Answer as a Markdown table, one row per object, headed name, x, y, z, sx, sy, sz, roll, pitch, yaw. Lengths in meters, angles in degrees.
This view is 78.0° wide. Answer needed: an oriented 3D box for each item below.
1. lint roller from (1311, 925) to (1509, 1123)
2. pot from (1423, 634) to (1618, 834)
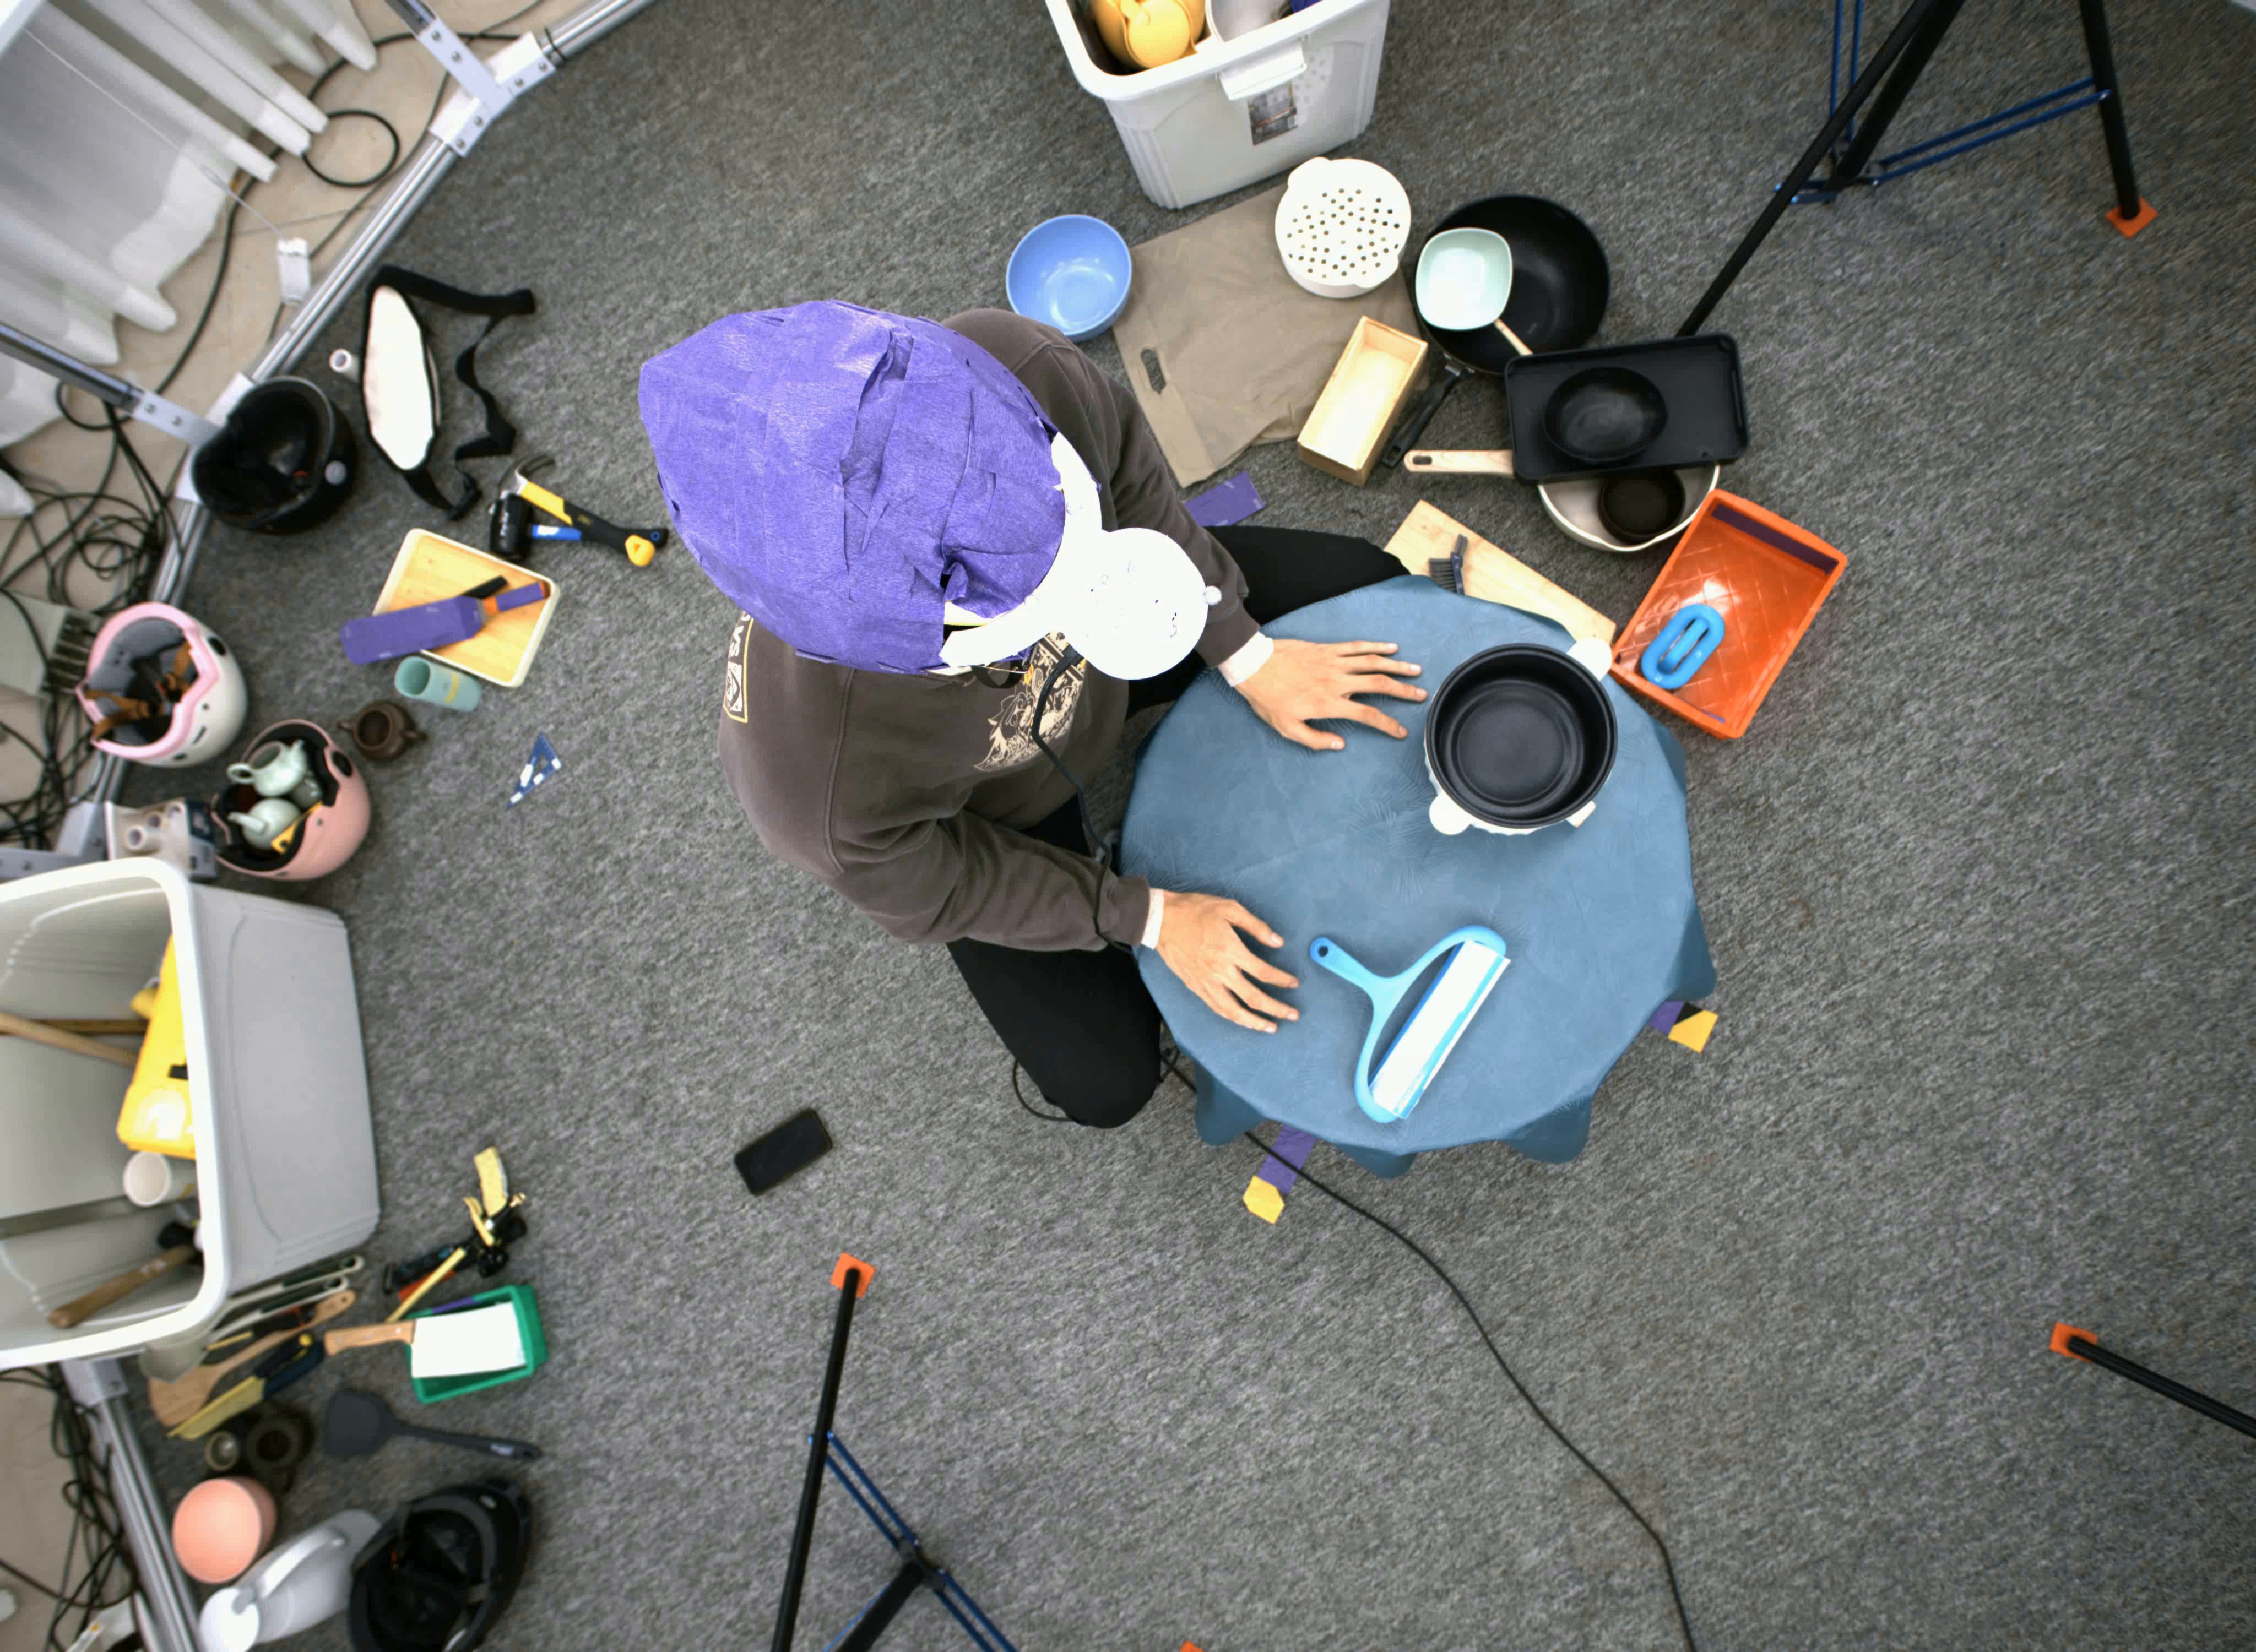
| name | x | y | z | sx | sy | sz | roll | pitch | yaw |
| --- | --- | --- | --- | --- | --- | --- | --- | --- | --- |
| lint roller | 0.265 | 0.173 | 1.425 | 0.180 | 0.068 | 0.229 | 31 | 94 | 10 |
| pot | 0.392 | -0.081 | 1.372 | 0.189 | 0.143 | 0.241 | 42 | 96 | 13 |
